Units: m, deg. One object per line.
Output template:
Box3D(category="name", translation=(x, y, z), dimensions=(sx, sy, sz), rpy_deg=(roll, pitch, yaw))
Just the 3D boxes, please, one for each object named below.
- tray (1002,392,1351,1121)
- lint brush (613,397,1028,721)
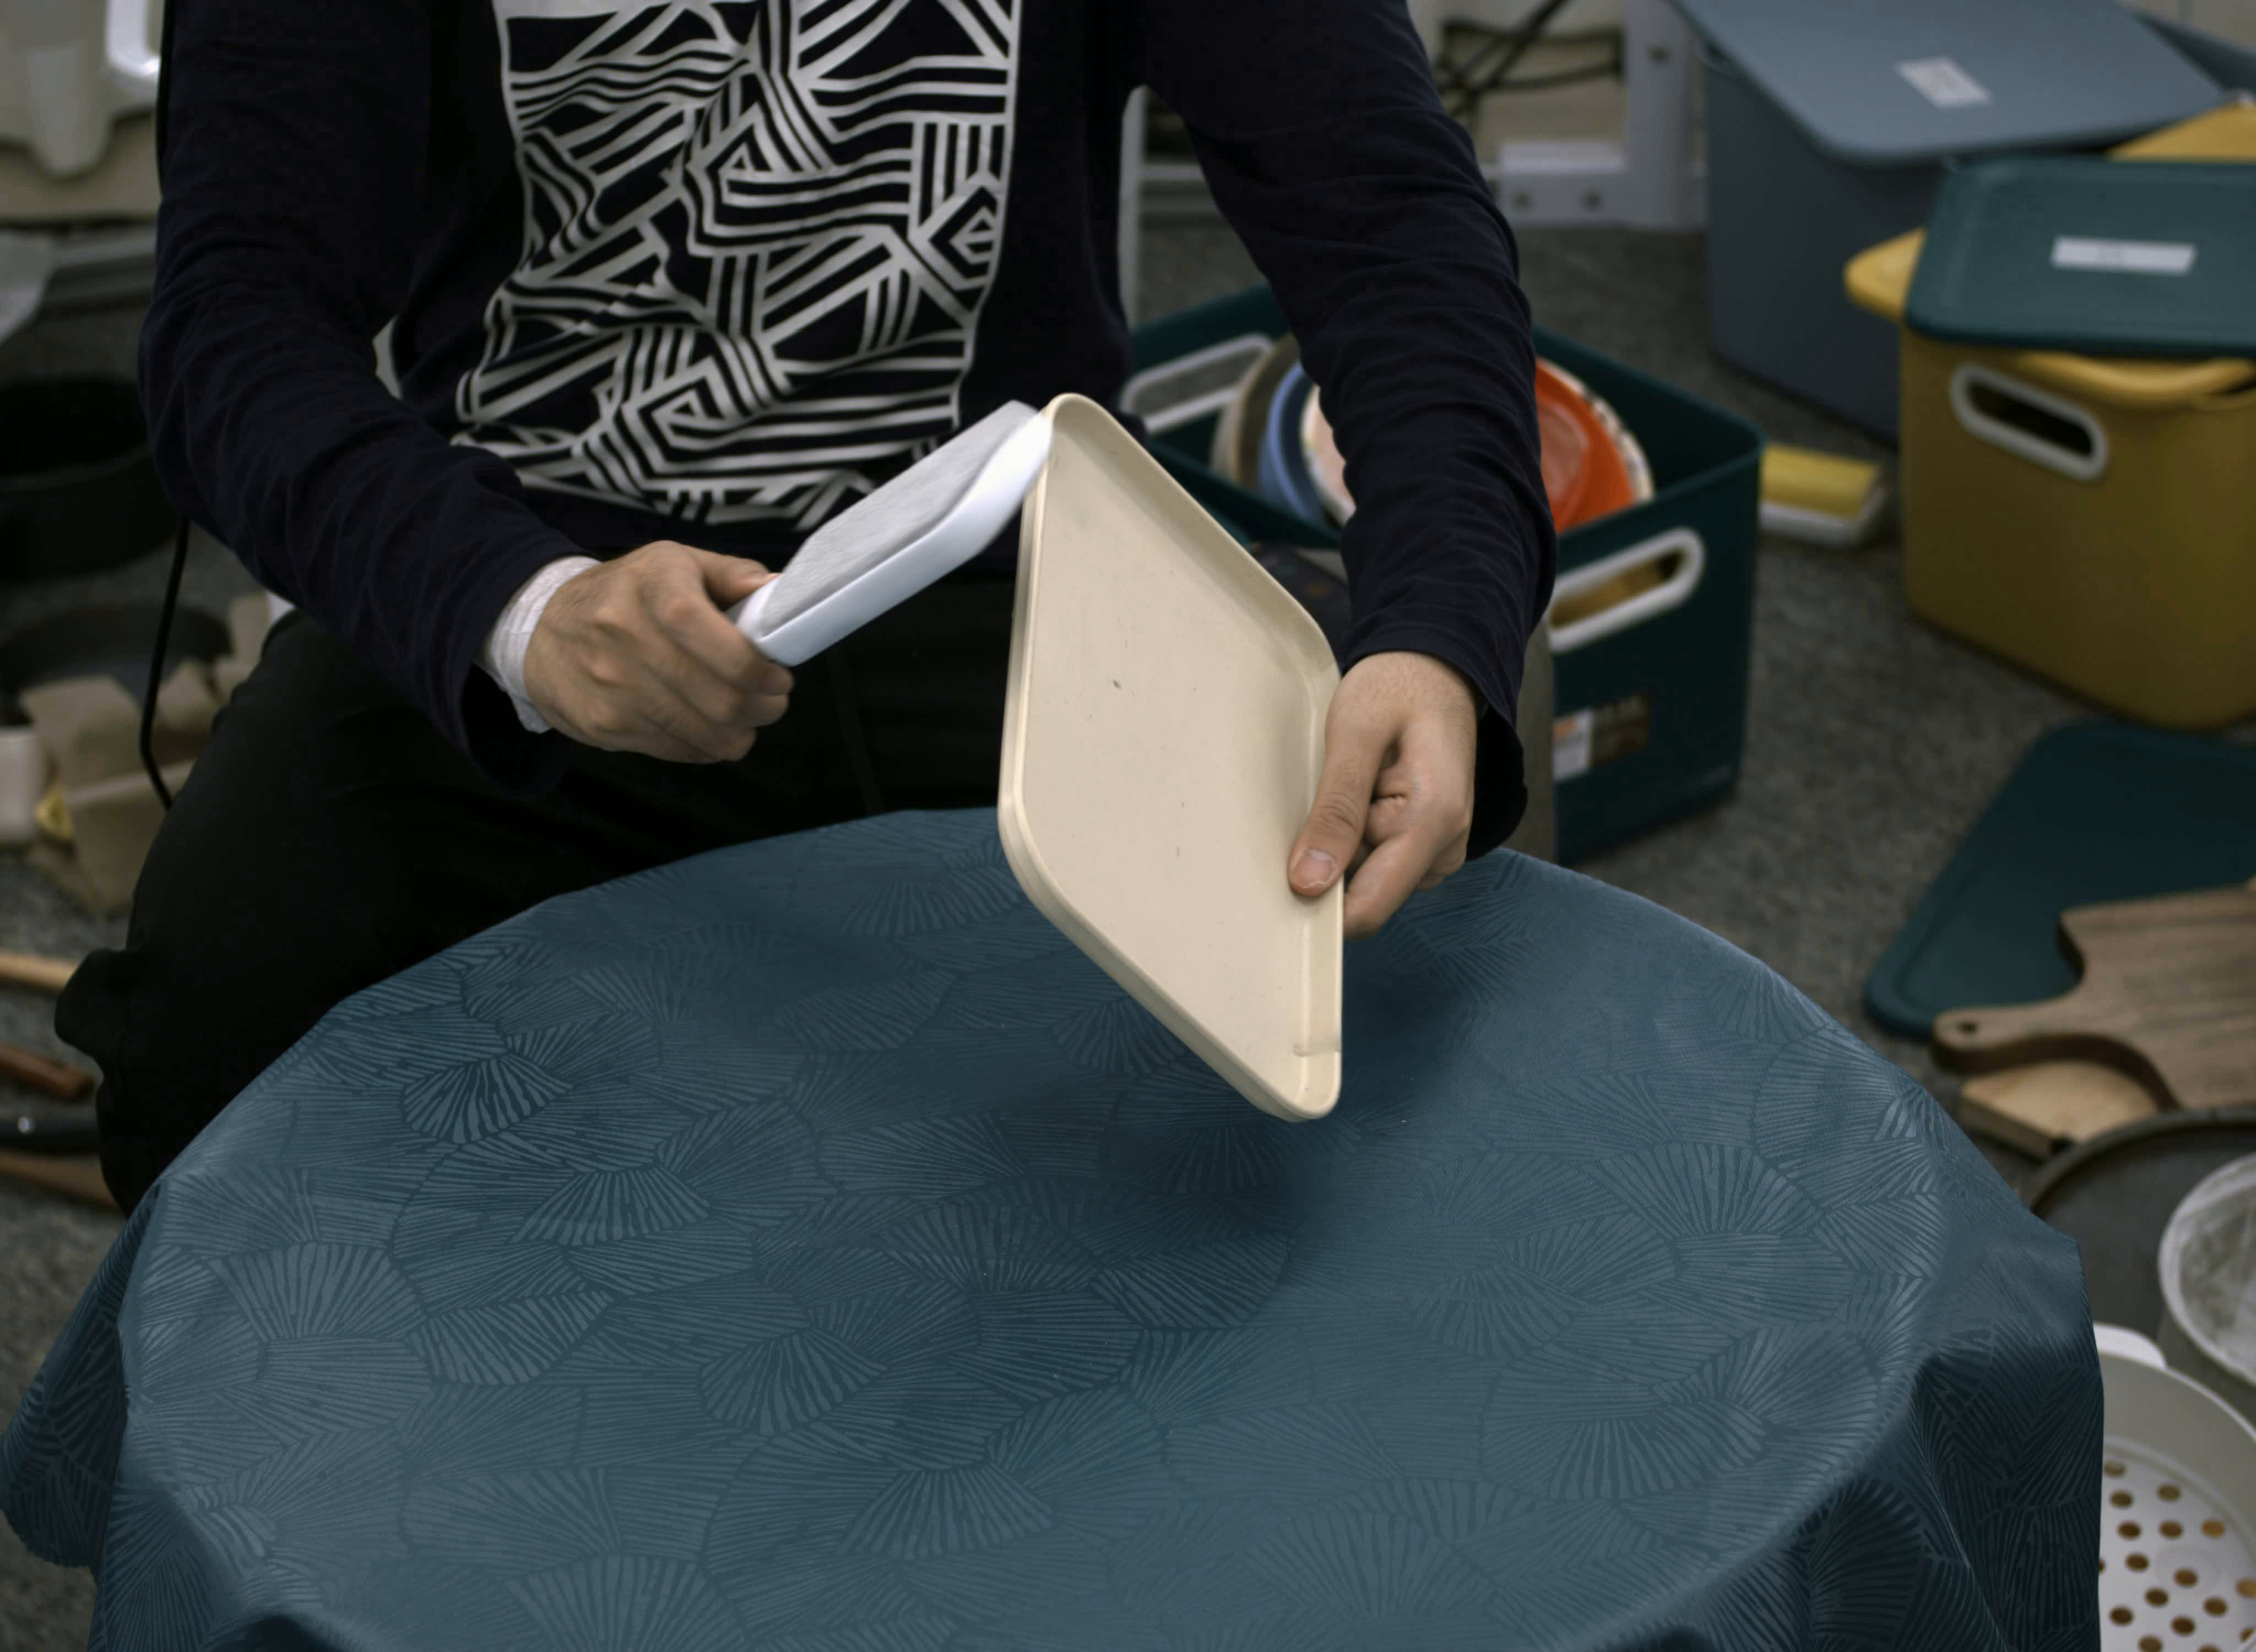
Box3D(category="tray", translation=(0.016, -0.023, 1.865), dimensions=(0.017, 0.170, 0.244), rpy_deg=(-30, 36, 27))
Box3D(category="lint brush", translation=(-0.107, -0.082, 1.876), dimensions=(0.305, 0.021, 0.061), rpy_deg=(-26, 36, 60))
